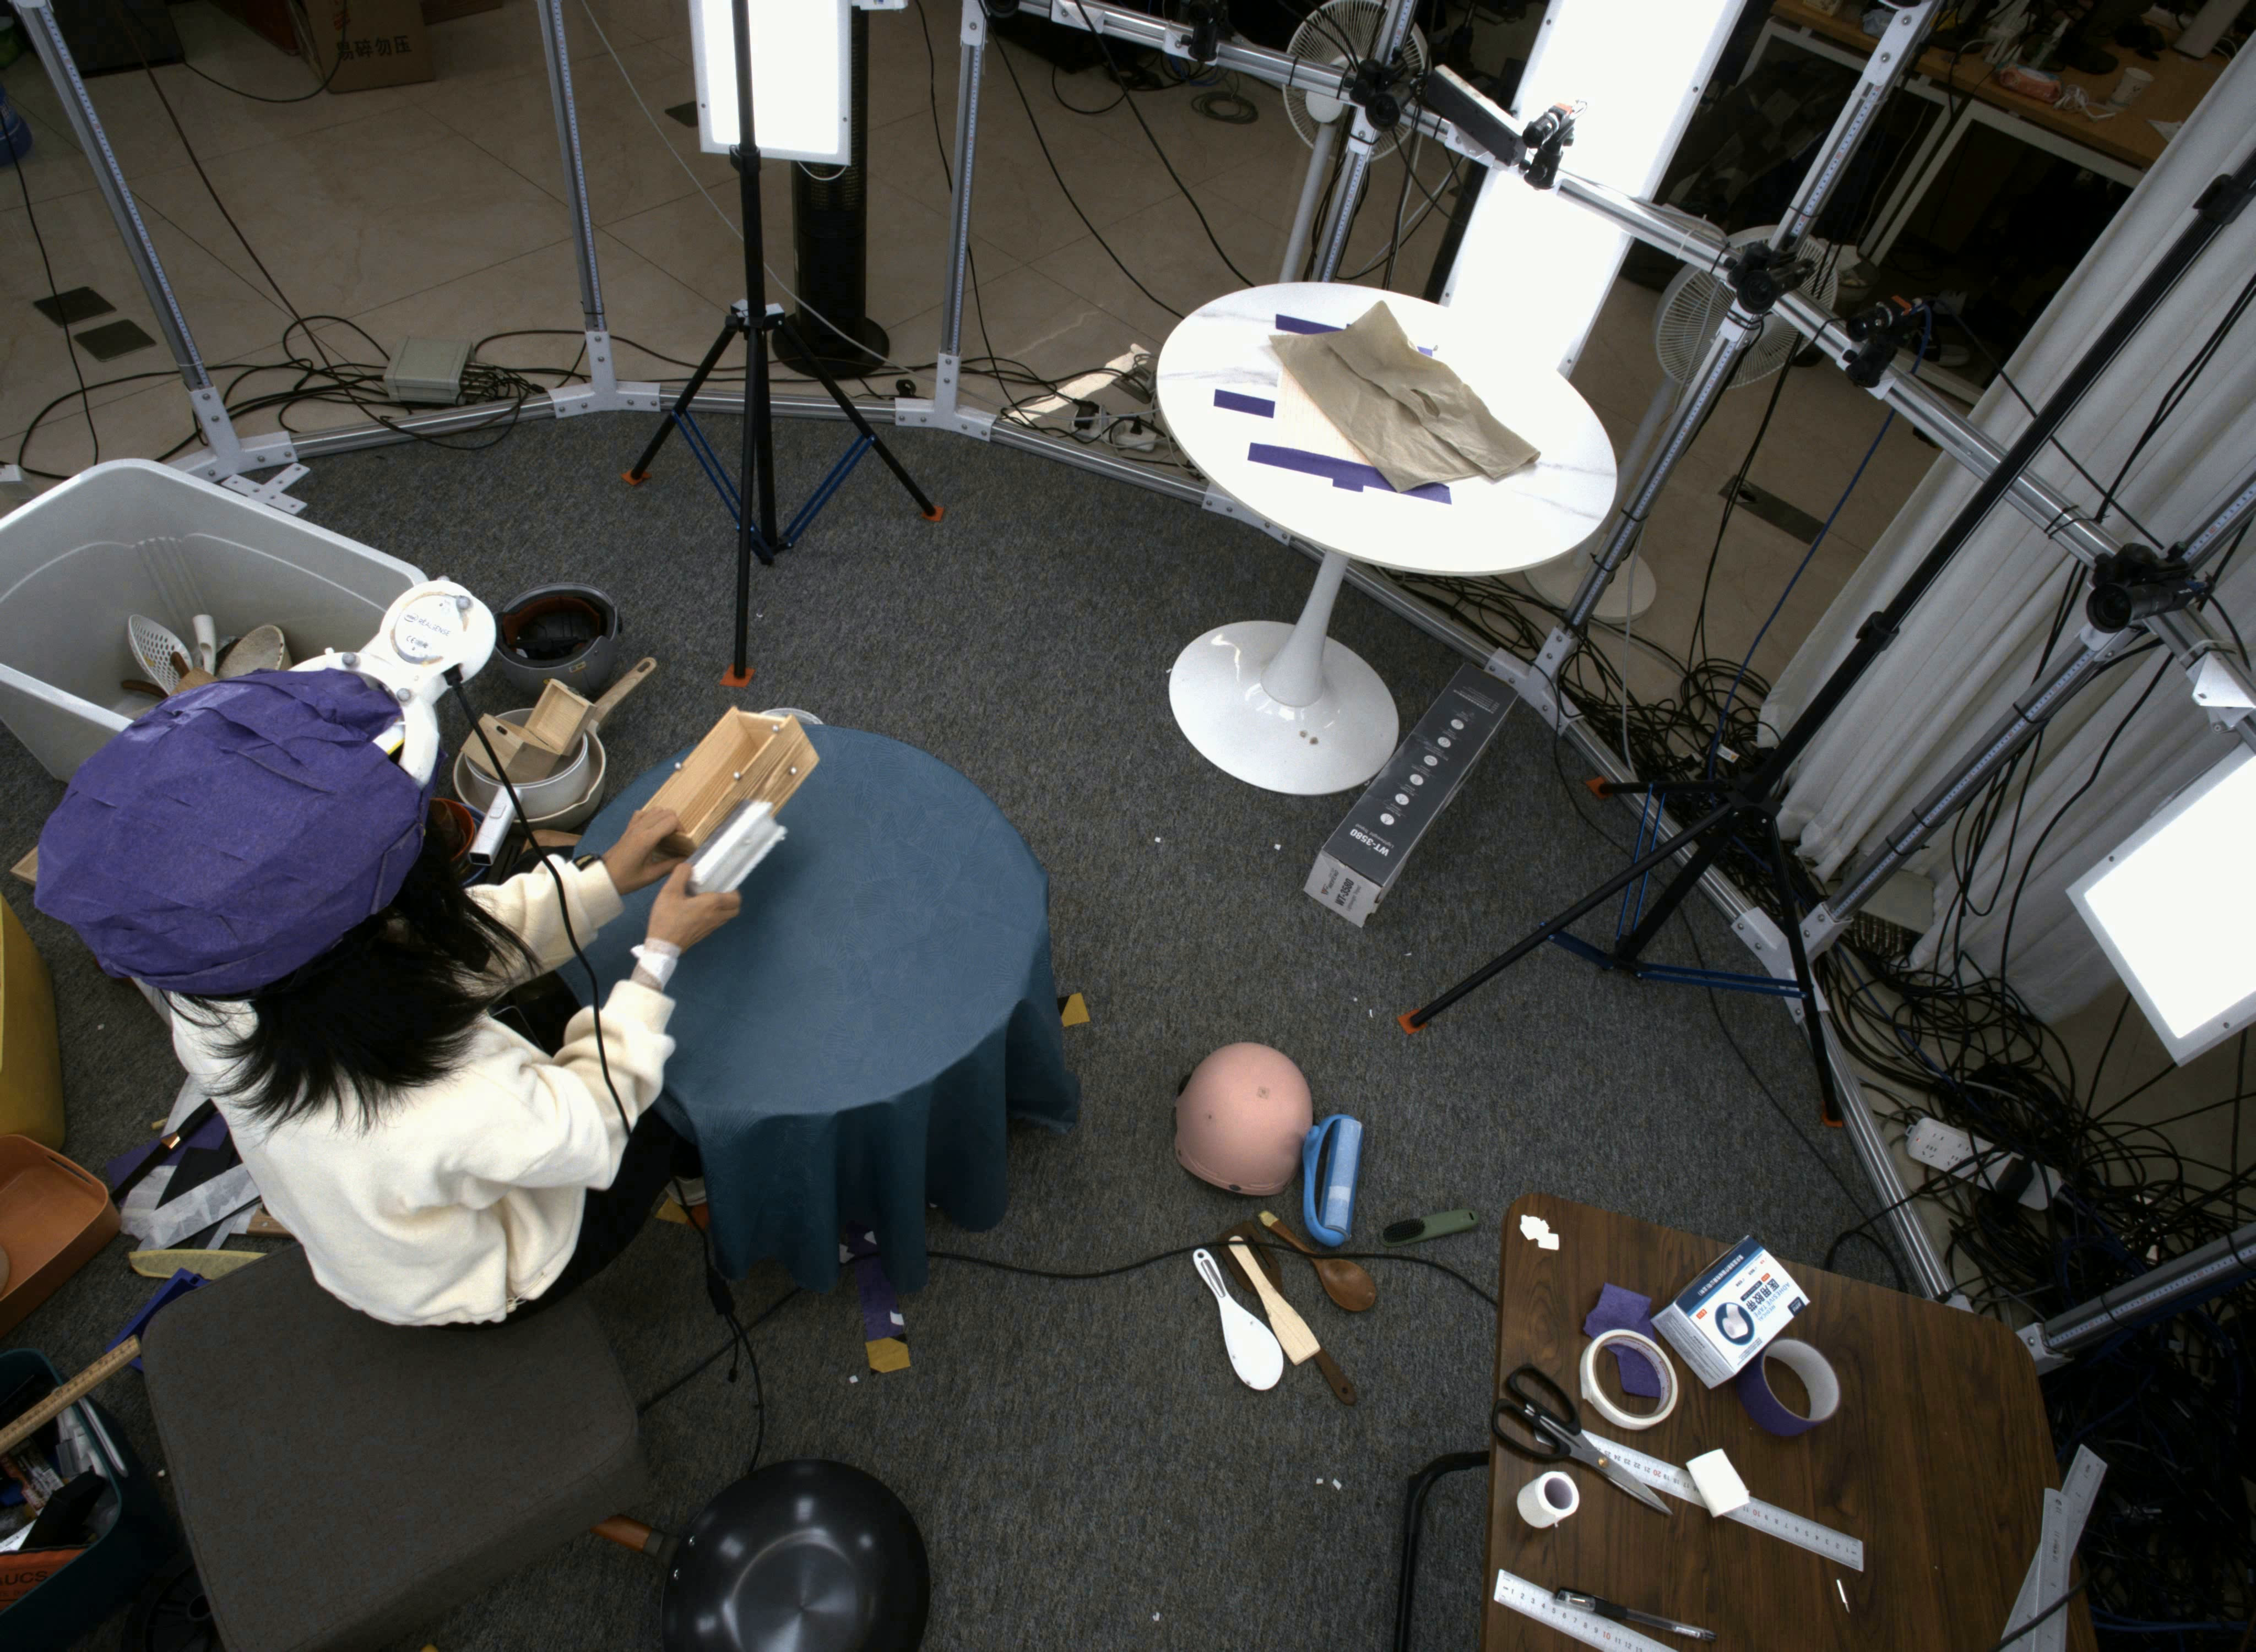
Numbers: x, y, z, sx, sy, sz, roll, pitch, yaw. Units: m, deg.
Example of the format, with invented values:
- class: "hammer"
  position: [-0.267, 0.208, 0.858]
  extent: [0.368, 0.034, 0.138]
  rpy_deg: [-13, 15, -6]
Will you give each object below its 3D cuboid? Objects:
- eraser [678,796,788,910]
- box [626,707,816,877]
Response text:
- class: "eraser"
  position: [-0.454, 0.027, 1.484]
  extent: [0.045, 0.051, 0.133]
  rpy_deg: [11, 51, 28]
- class: "box"
  position: [-0.489, -0.042, 1.556]
  extent: [0.104, 0.083, 0.210]
  rpy_deg: [9, 50, 28]
